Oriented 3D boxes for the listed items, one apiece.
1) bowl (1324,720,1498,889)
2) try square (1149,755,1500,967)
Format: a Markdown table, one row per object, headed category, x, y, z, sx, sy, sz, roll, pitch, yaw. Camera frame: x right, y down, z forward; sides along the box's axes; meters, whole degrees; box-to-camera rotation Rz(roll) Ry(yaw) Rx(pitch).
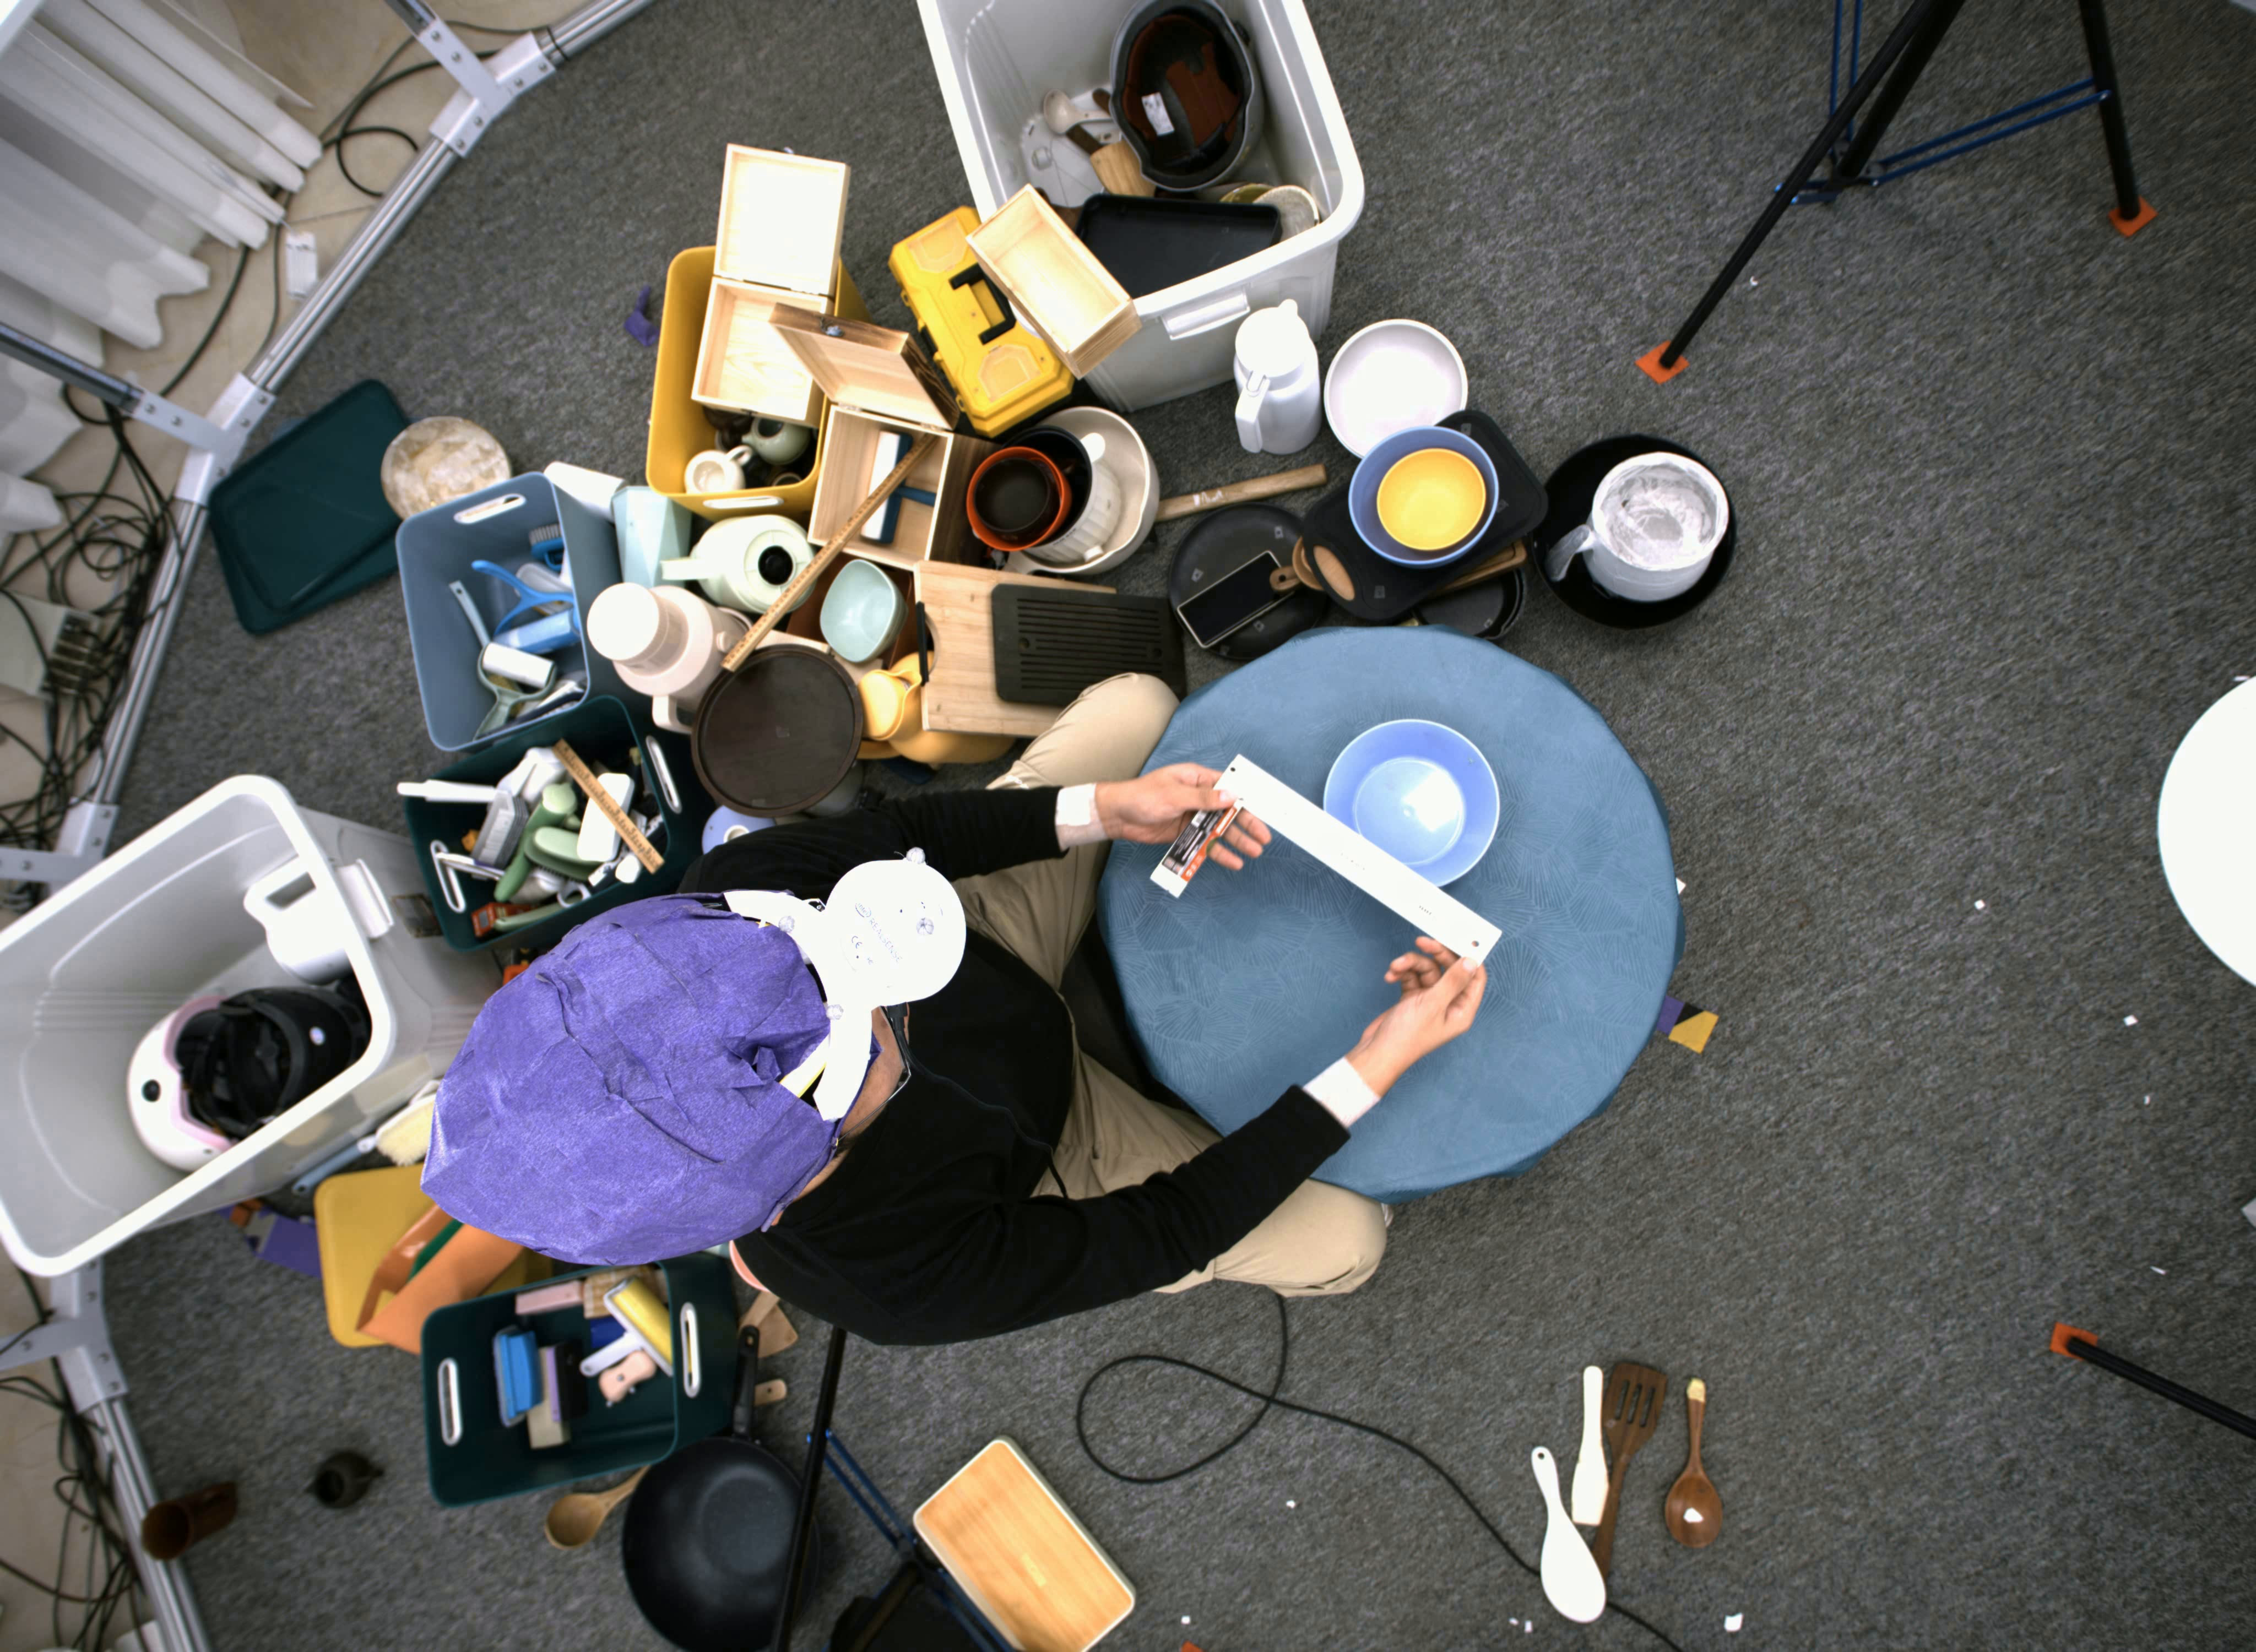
| category | x | y | z | sx | sy | sz | roll | pitch | yaw |
| --- | --- | --- | --- | --- | --- | --- | --- | --- | --- |
| bowl | 0.291 | -0.019 | 1.426 | 0.177 | 0.070 | 0.175 | -1 | 87 | 10 |
| try square | 0.188 | 0.075 | 1.347 | 0.312 | 0.016 | 0.152 | 35 | 93 | 10 |
